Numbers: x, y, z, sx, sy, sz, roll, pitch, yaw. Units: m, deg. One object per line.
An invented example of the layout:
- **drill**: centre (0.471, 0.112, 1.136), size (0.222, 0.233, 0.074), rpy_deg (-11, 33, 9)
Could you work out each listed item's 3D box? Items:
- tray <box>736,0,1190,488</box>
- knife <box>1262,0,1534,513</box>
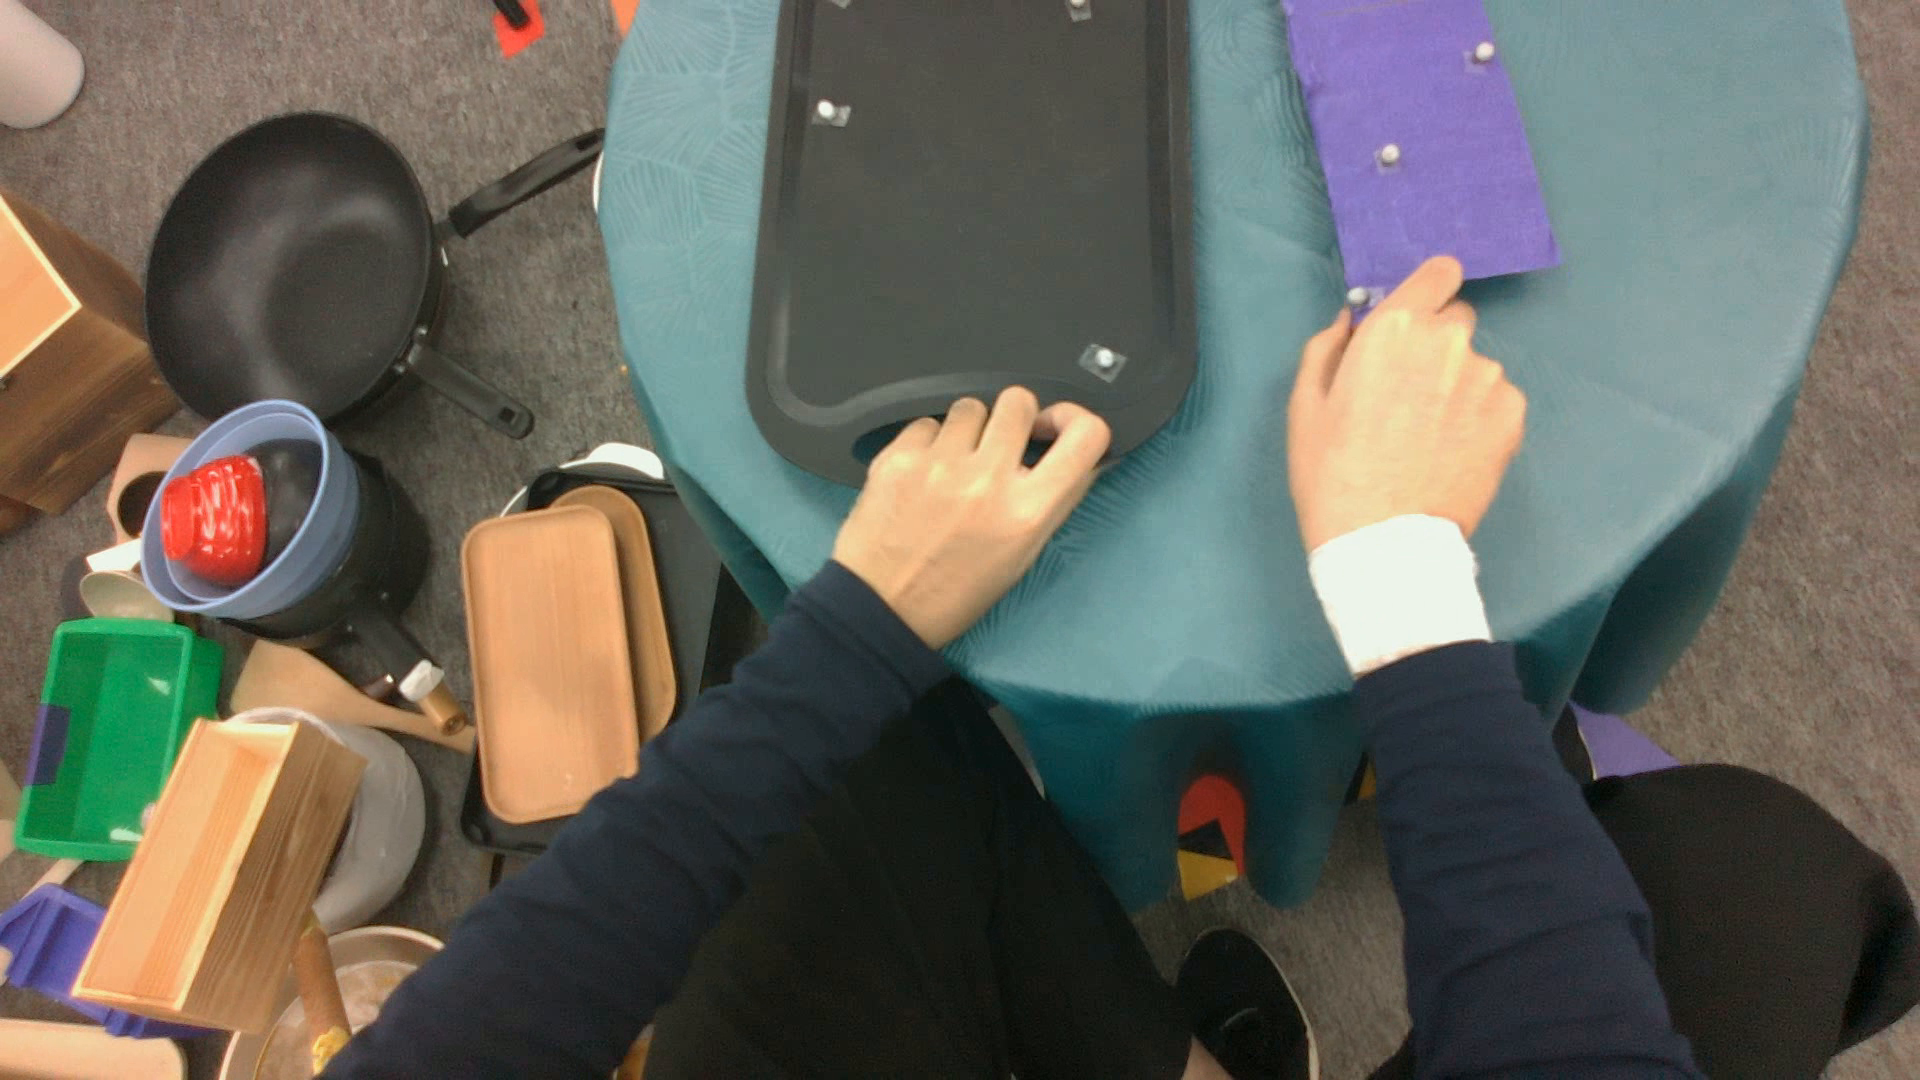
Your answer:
- **tray**: centre (0.002, -0.175, 0.661), size (0.211, 0.010, 0.326), rpy_deg (-2, 68, 9)
- **knife**: centre (0.202, -0.166, 0.621), size (0.104, 0.032, 0.316), rpy_deg (-10, 68, 8)
